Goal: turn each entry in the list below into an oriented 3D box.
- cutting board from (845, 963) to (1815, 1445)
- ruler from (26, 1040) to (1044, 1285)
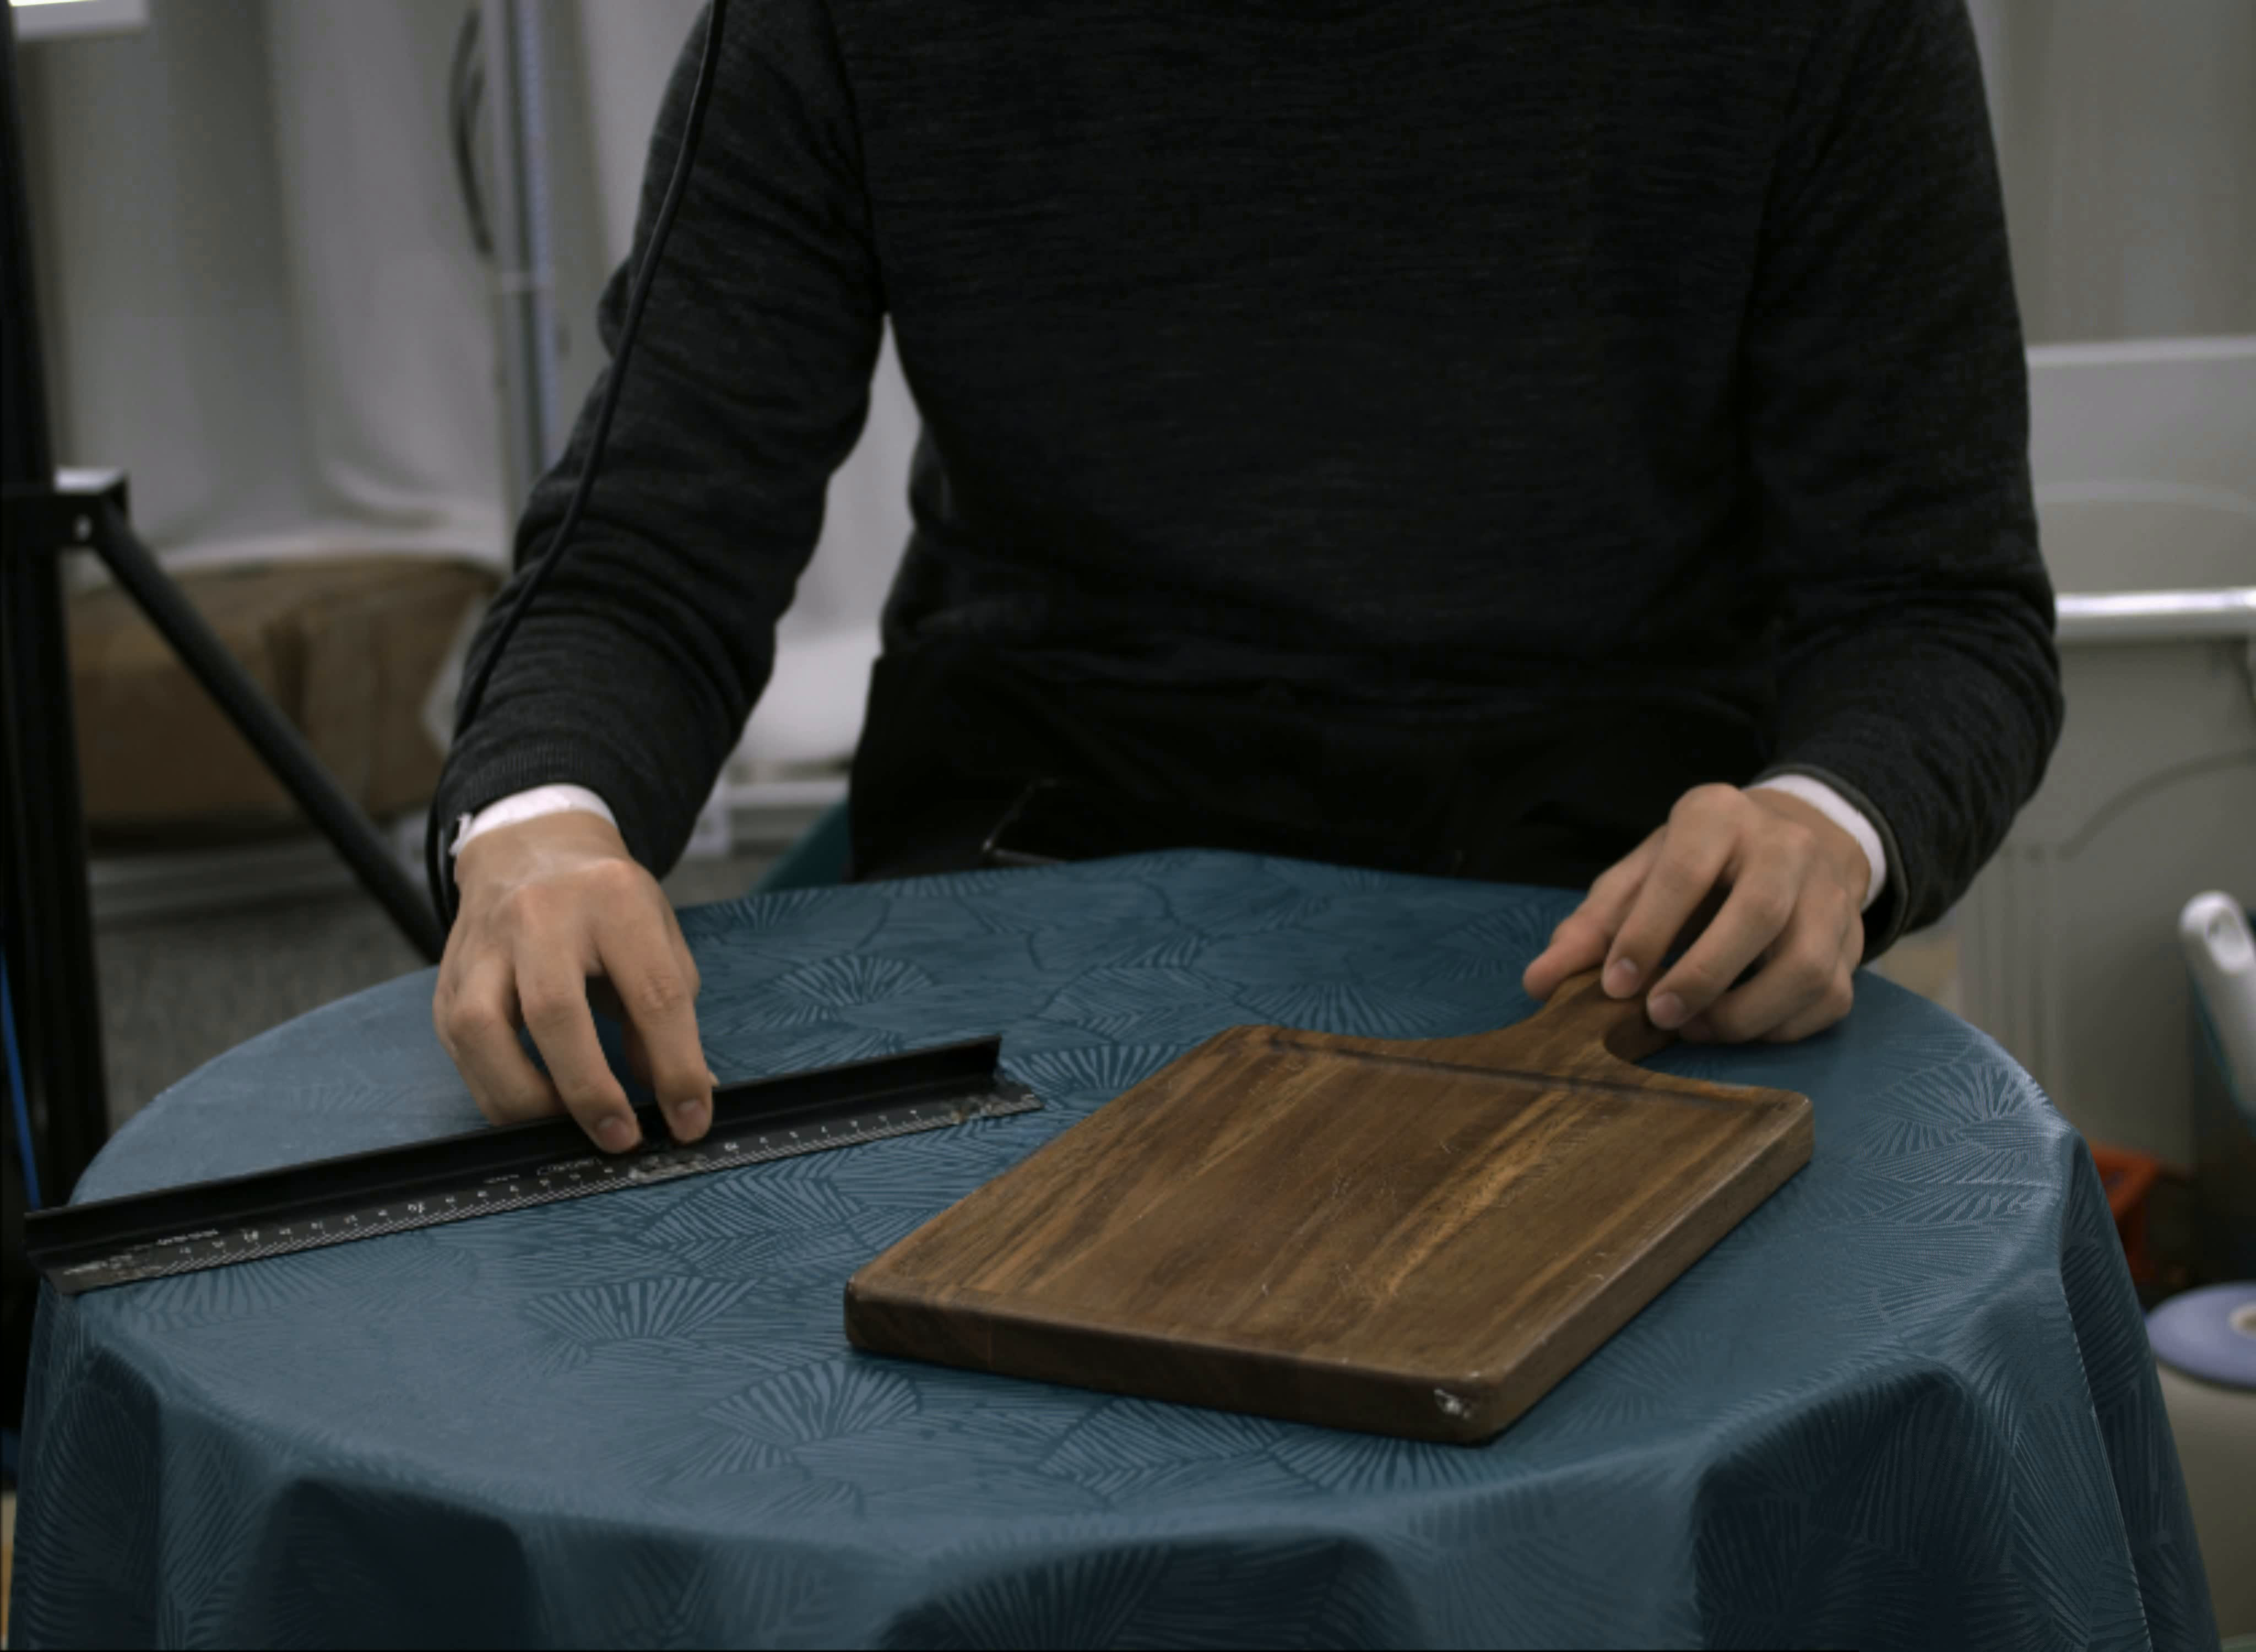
[{"bbox_3d":[0.085,0.098,1.540,0.204,0.023,0.346,6,17,27],"label":"cutting board"},{"bbox_3d":[-0.172,0.099,1.589,0.306,0.017,0.040,-9,19,-22],"label":"ruler"}]
